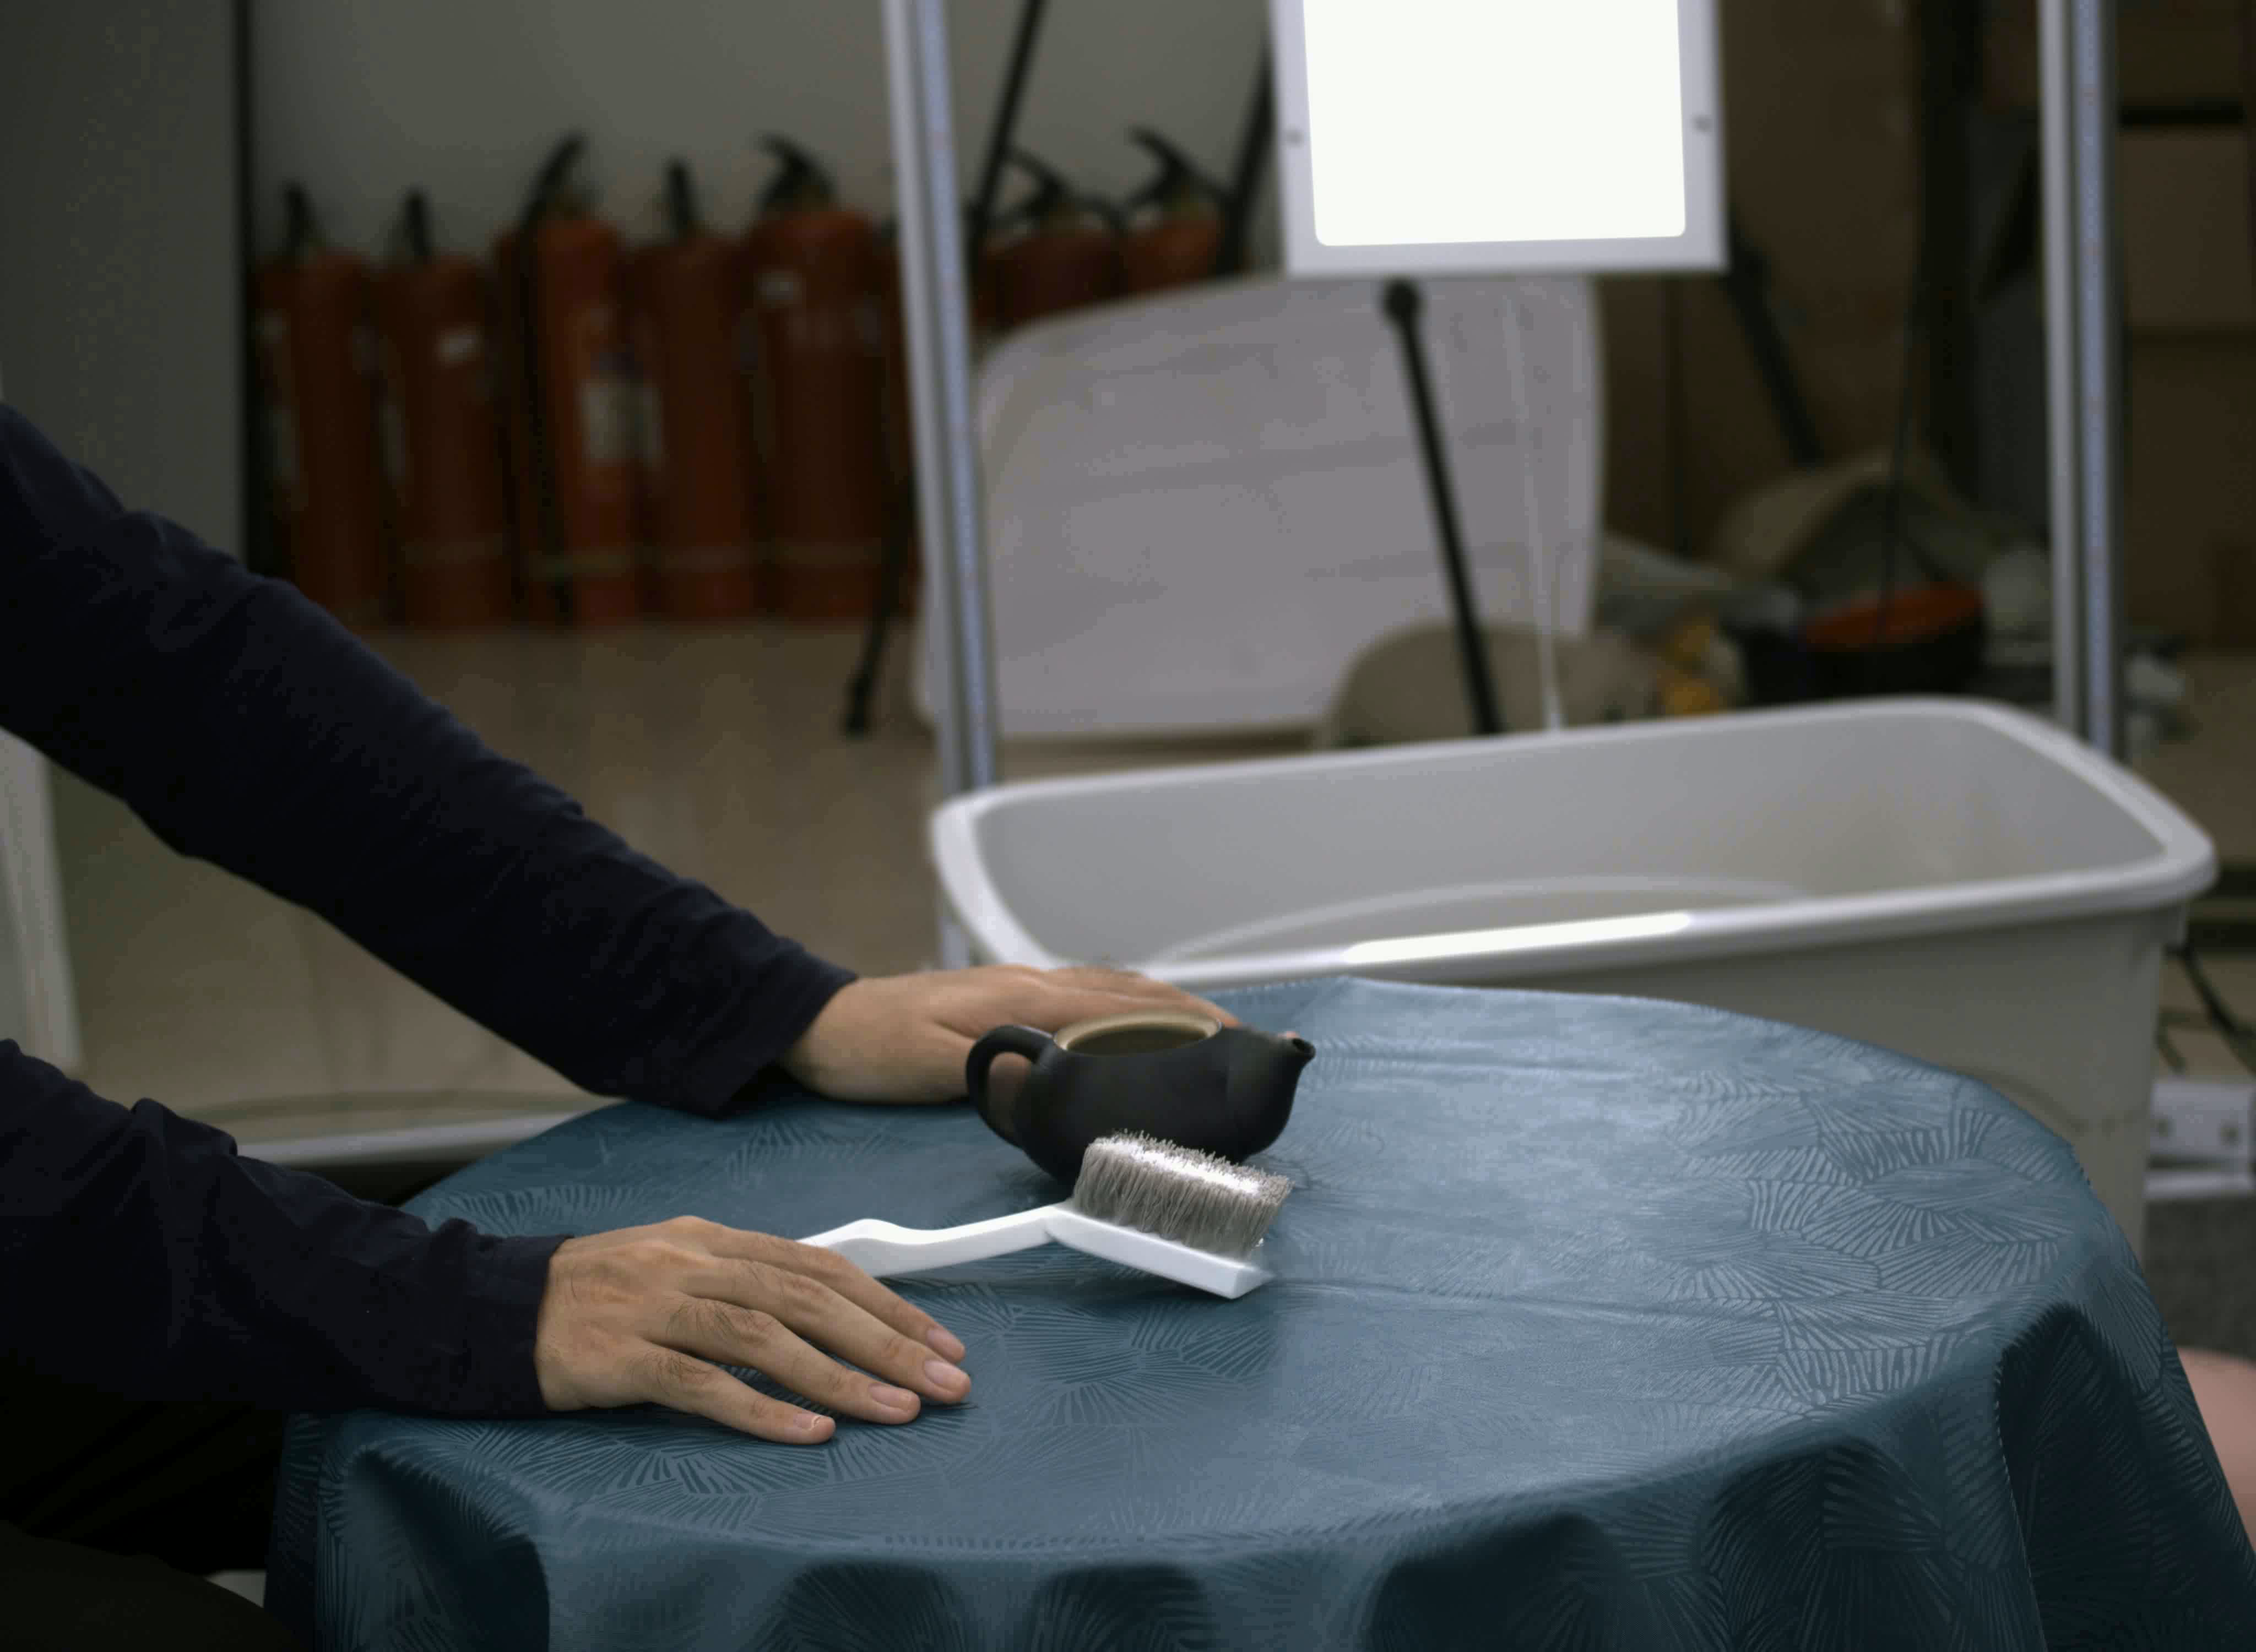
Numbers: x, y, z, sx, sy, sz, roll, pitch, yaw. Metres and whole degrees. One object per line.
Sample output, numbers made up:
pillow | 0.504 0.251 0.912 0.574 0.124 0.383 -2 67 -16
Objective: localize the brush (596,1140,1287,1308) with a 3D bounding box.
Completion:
brush | -0.065 0.128 1.818 0.247 0.050 0.034 0 19 21

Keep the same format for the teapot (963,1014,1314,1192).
teapot | 0.004 0.097 1.909 0.135 0.053 0.089 1 12 26
